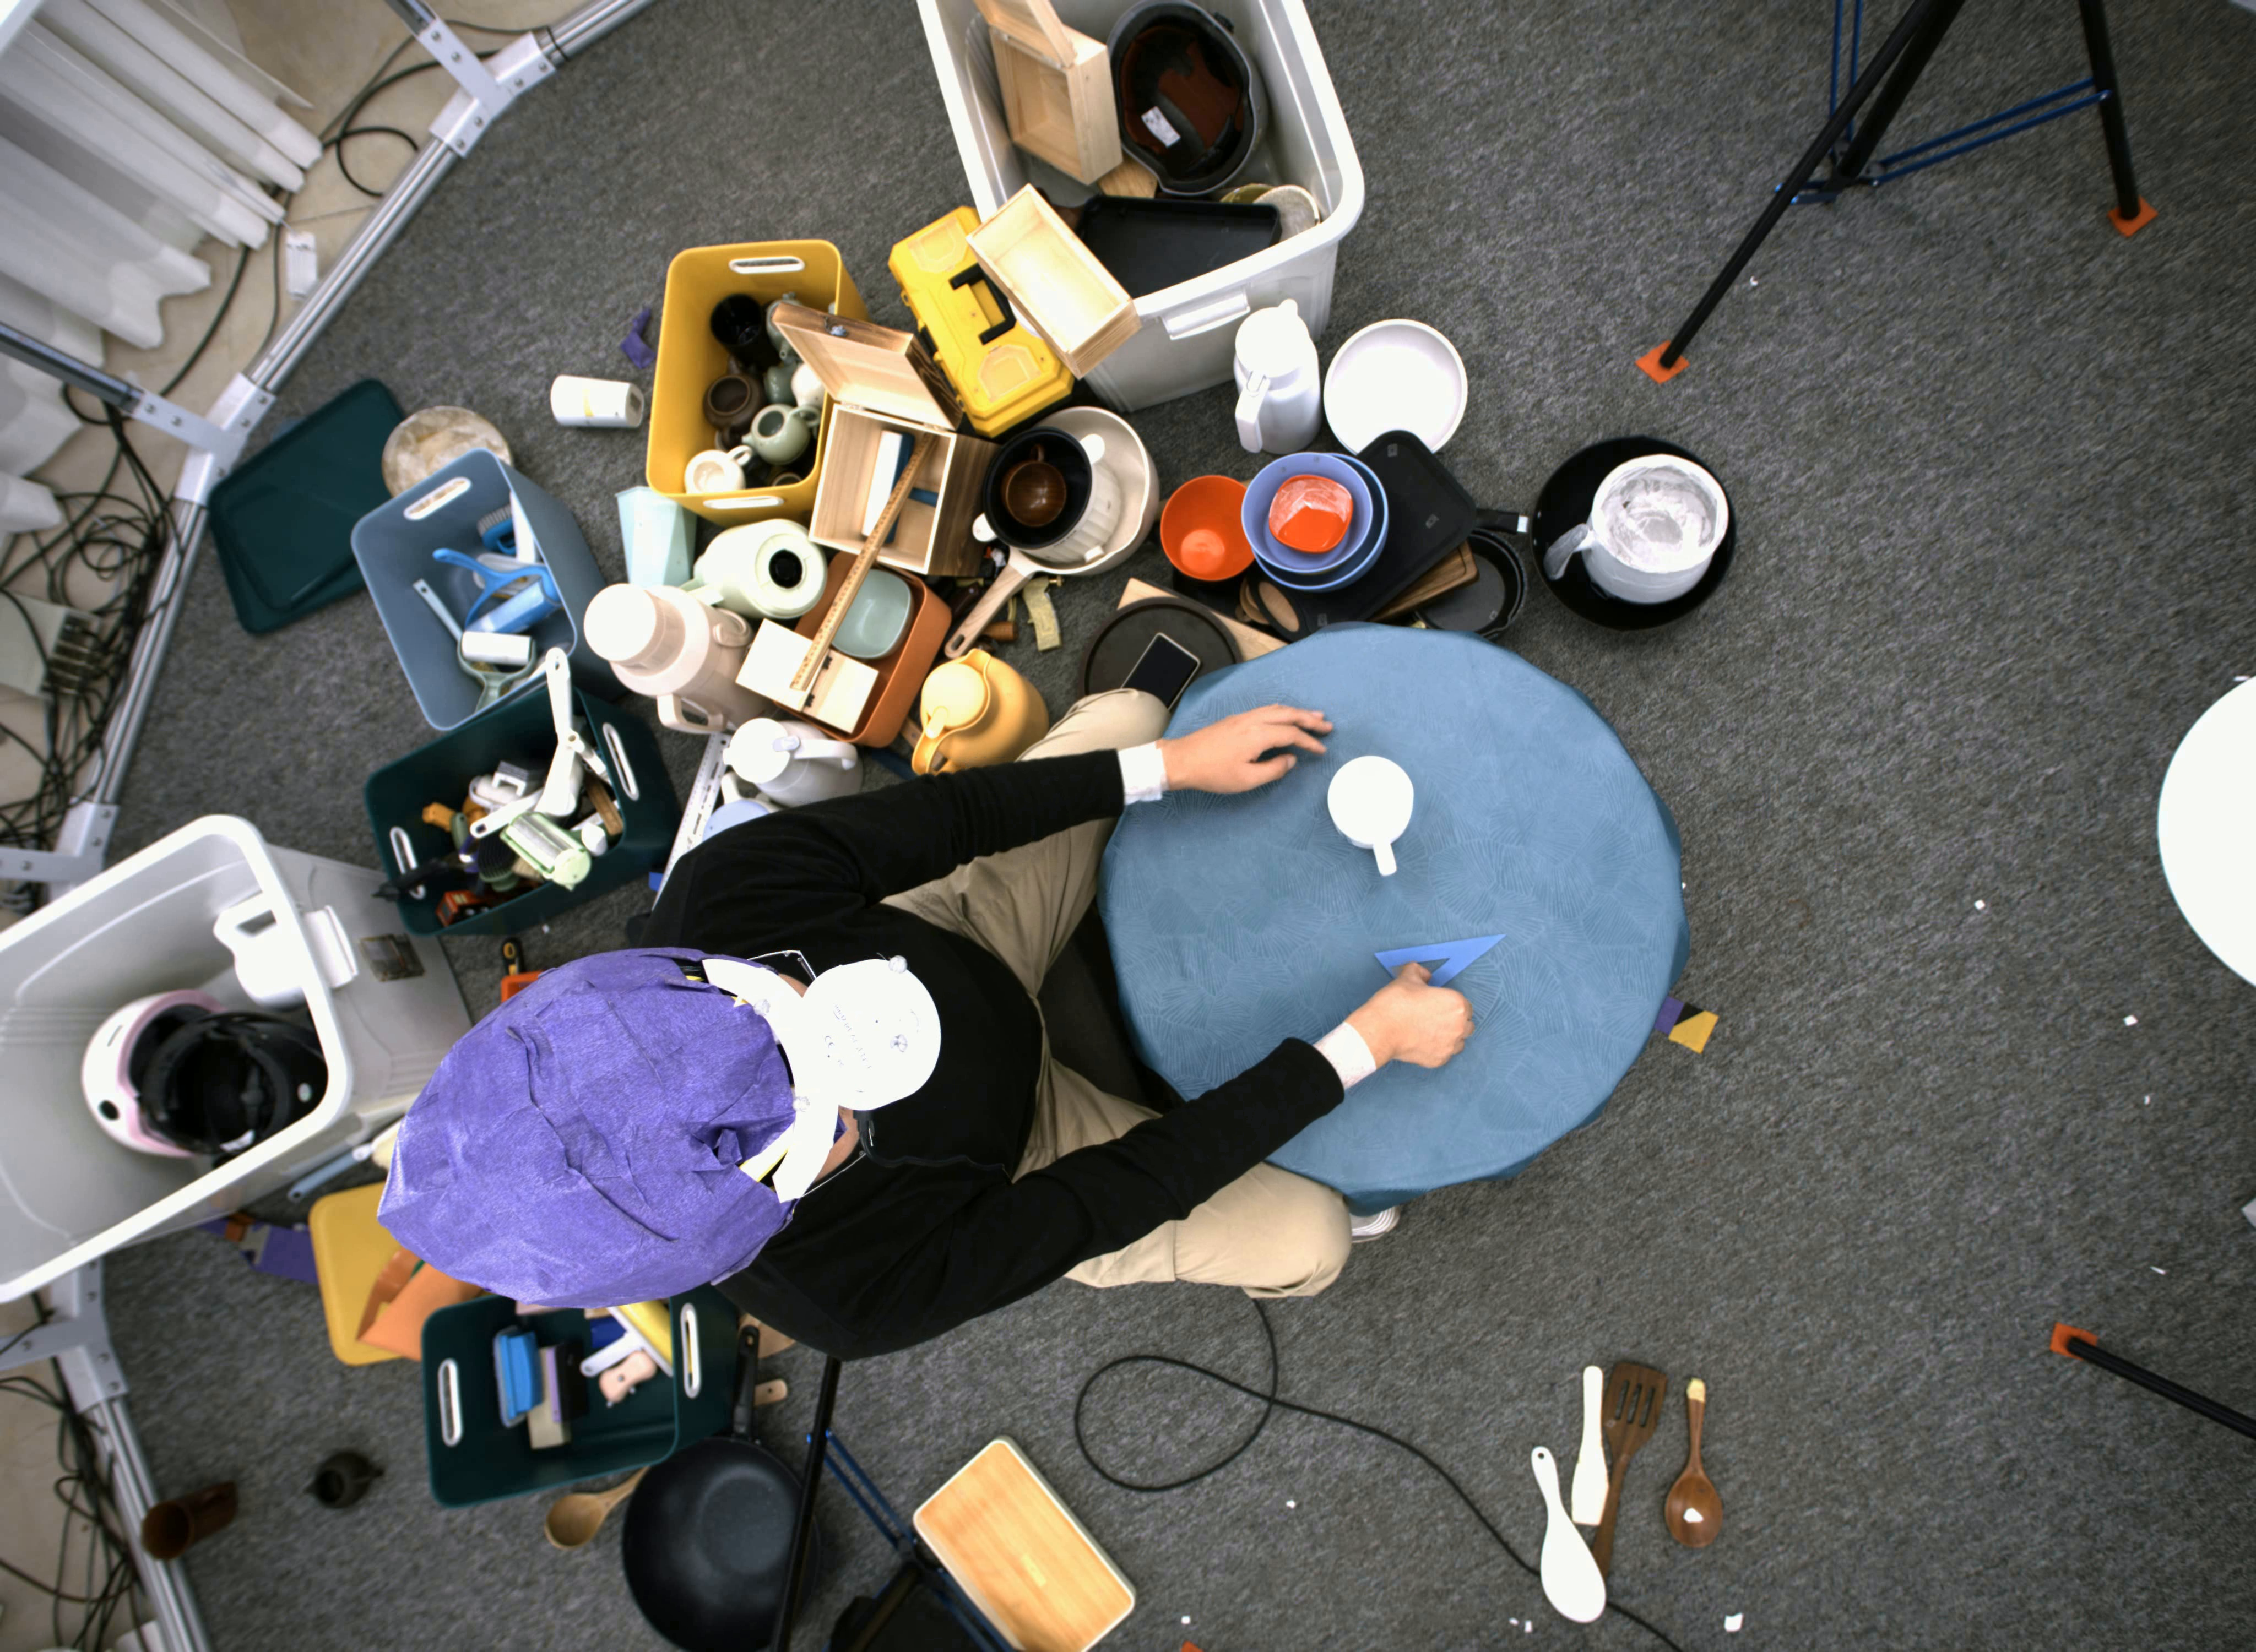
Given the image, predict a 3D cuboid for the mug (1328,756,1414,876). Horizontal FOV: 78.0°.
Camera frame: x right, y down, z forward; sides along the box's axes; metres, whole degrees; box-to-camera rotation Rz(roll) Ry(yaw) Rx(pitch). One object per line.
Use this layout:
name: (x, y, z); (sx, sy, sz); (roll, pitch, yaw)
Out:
mug: (0.253, -0.008, 1.416); (0.085, 0.102, 0.117); (-14, 83, 8)

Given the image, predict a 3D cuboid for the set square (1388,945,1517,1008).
set square: (0.341, 0.155, 1.440); (0.132, 0.006, 0.061); (-5, 84, 9)
